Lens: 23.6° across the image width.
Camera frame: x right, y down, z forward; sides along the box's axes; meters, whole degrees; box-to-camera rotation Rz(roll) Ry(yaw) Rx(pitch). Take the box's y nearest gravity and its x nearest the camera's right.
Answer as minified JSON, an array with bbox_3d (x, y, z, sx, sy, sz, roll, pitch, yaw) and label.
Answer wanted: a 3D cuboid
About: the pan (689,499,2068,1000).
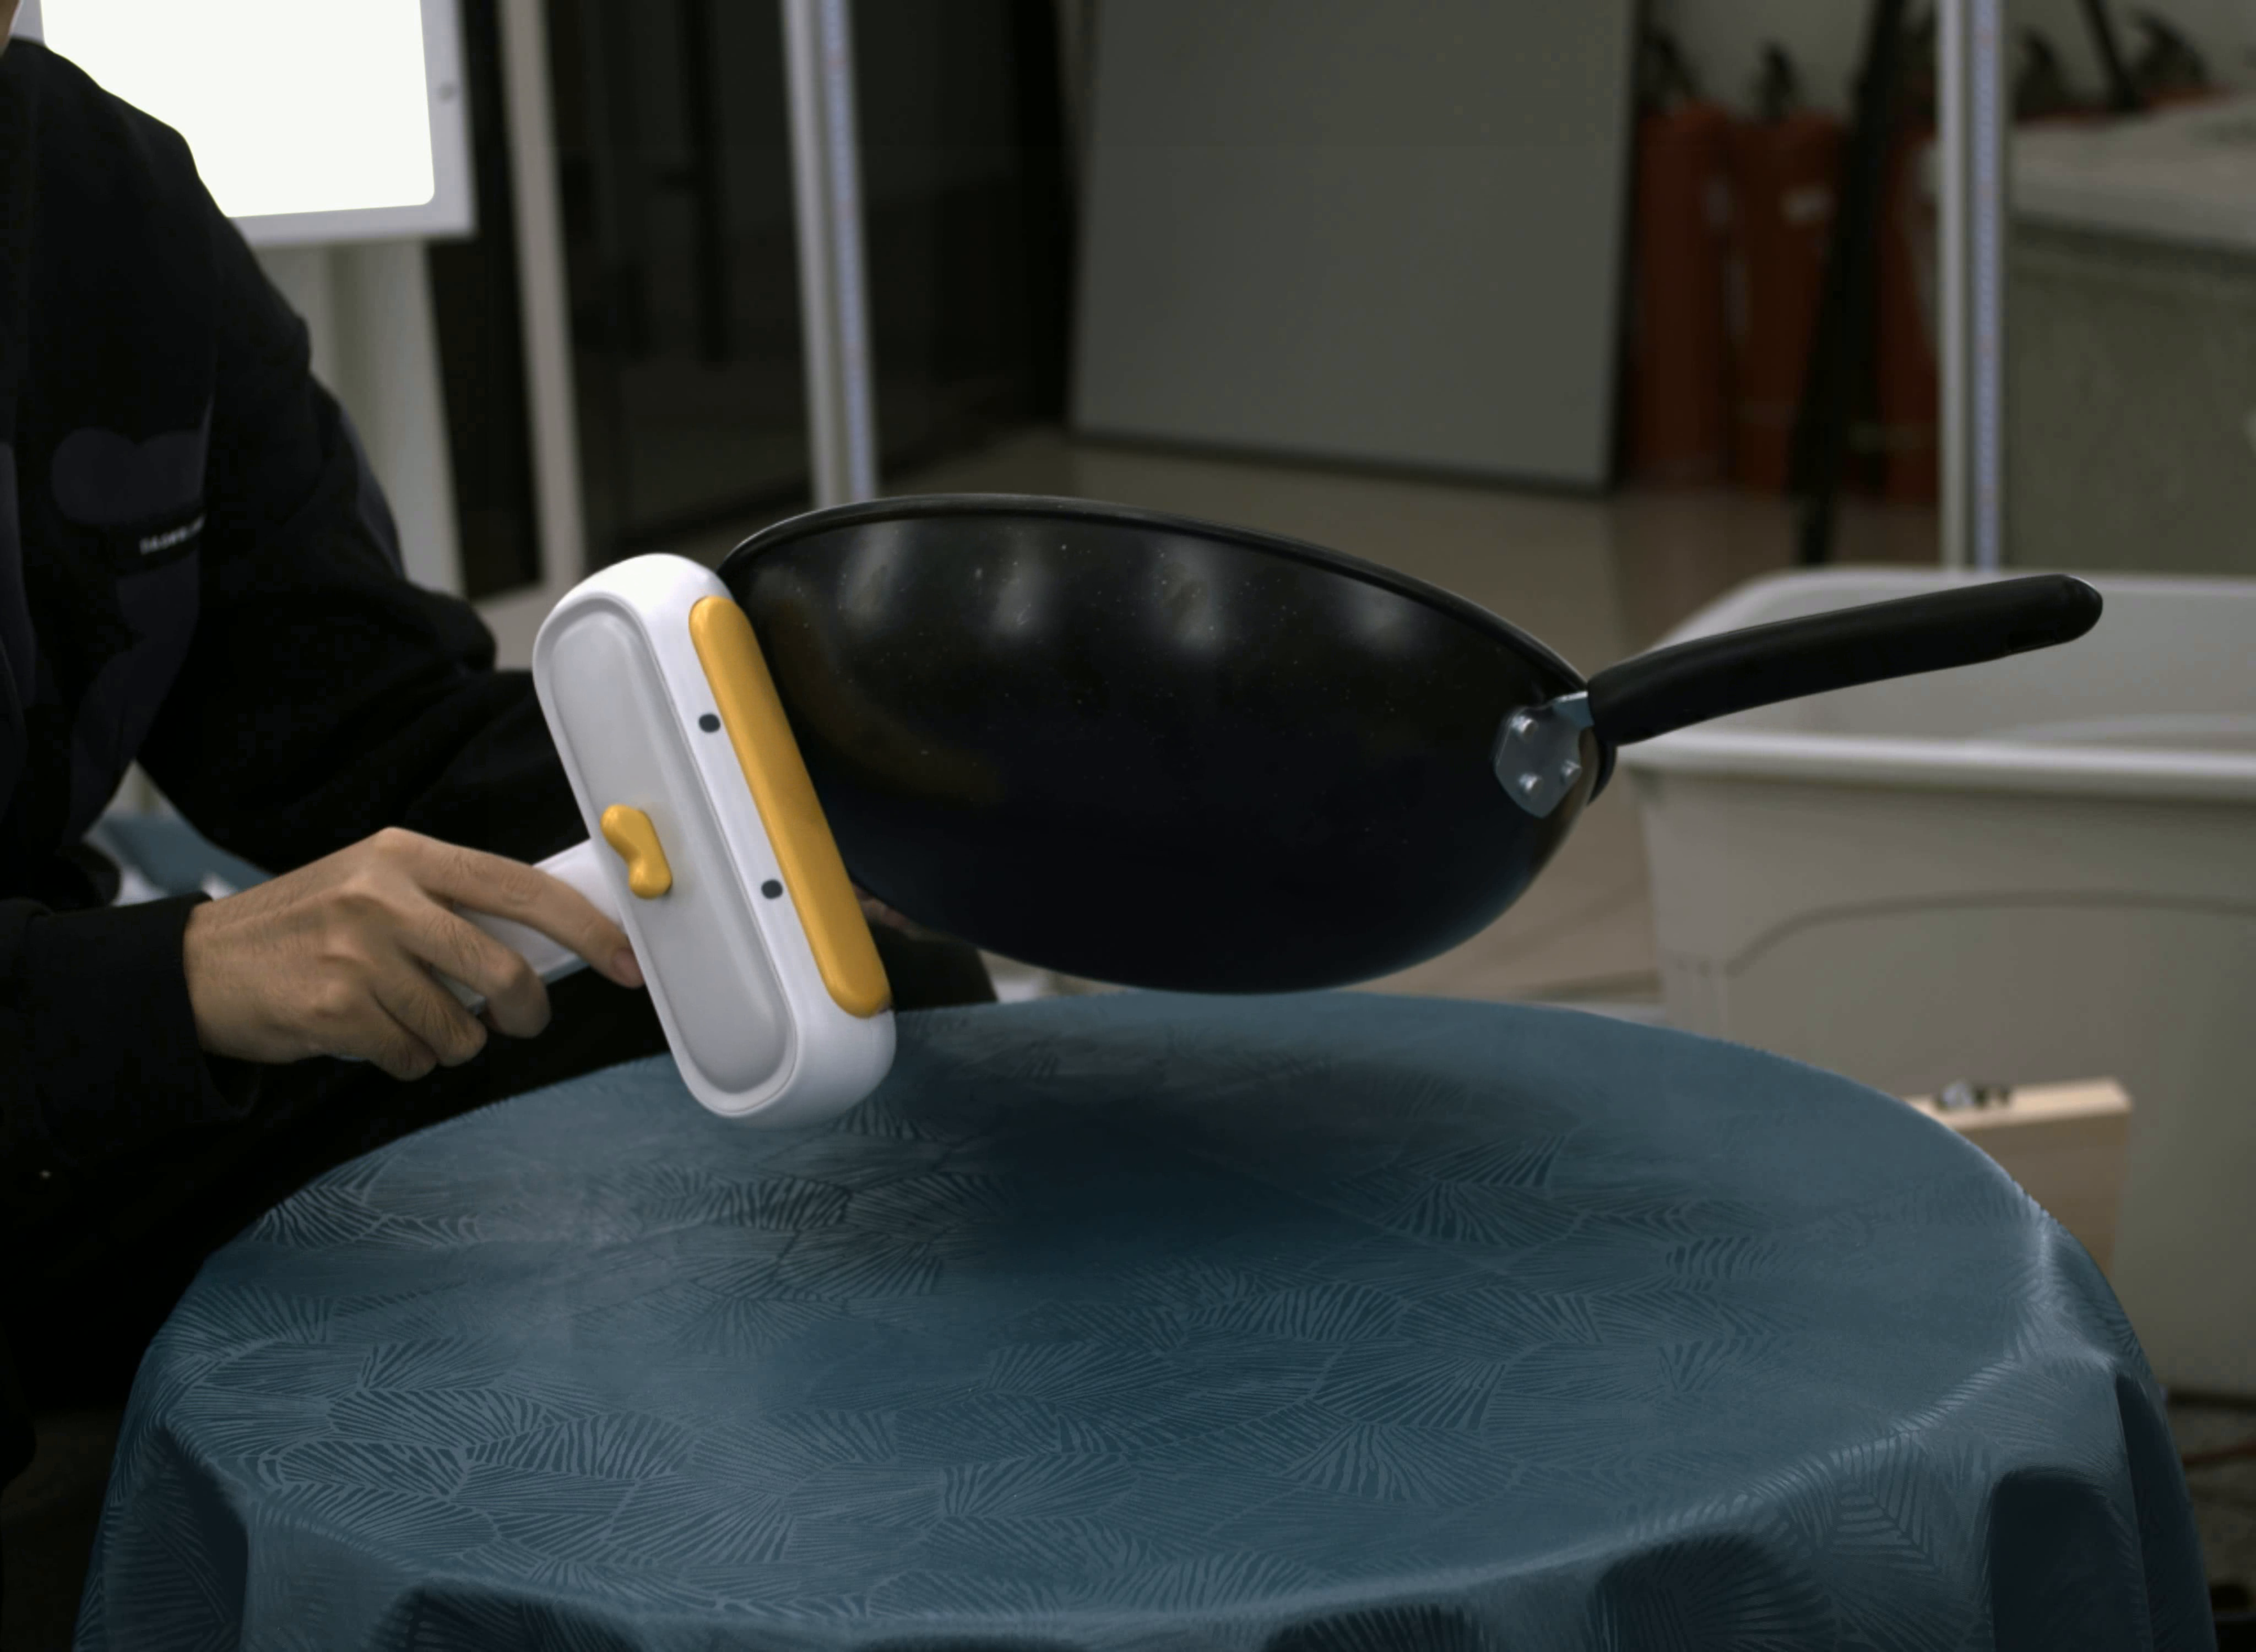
[{"bbox_3d":[0.071,-0.021,1.742,0.478,0.113,0.306,-1,-21,29],"label":"pan"}]

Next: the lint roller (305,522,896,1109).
[{"bbox_3d":[-0.182,0.025,1.749,0.193,0.195,0.073,-32,-9,28],"label":"lint roller"}]
